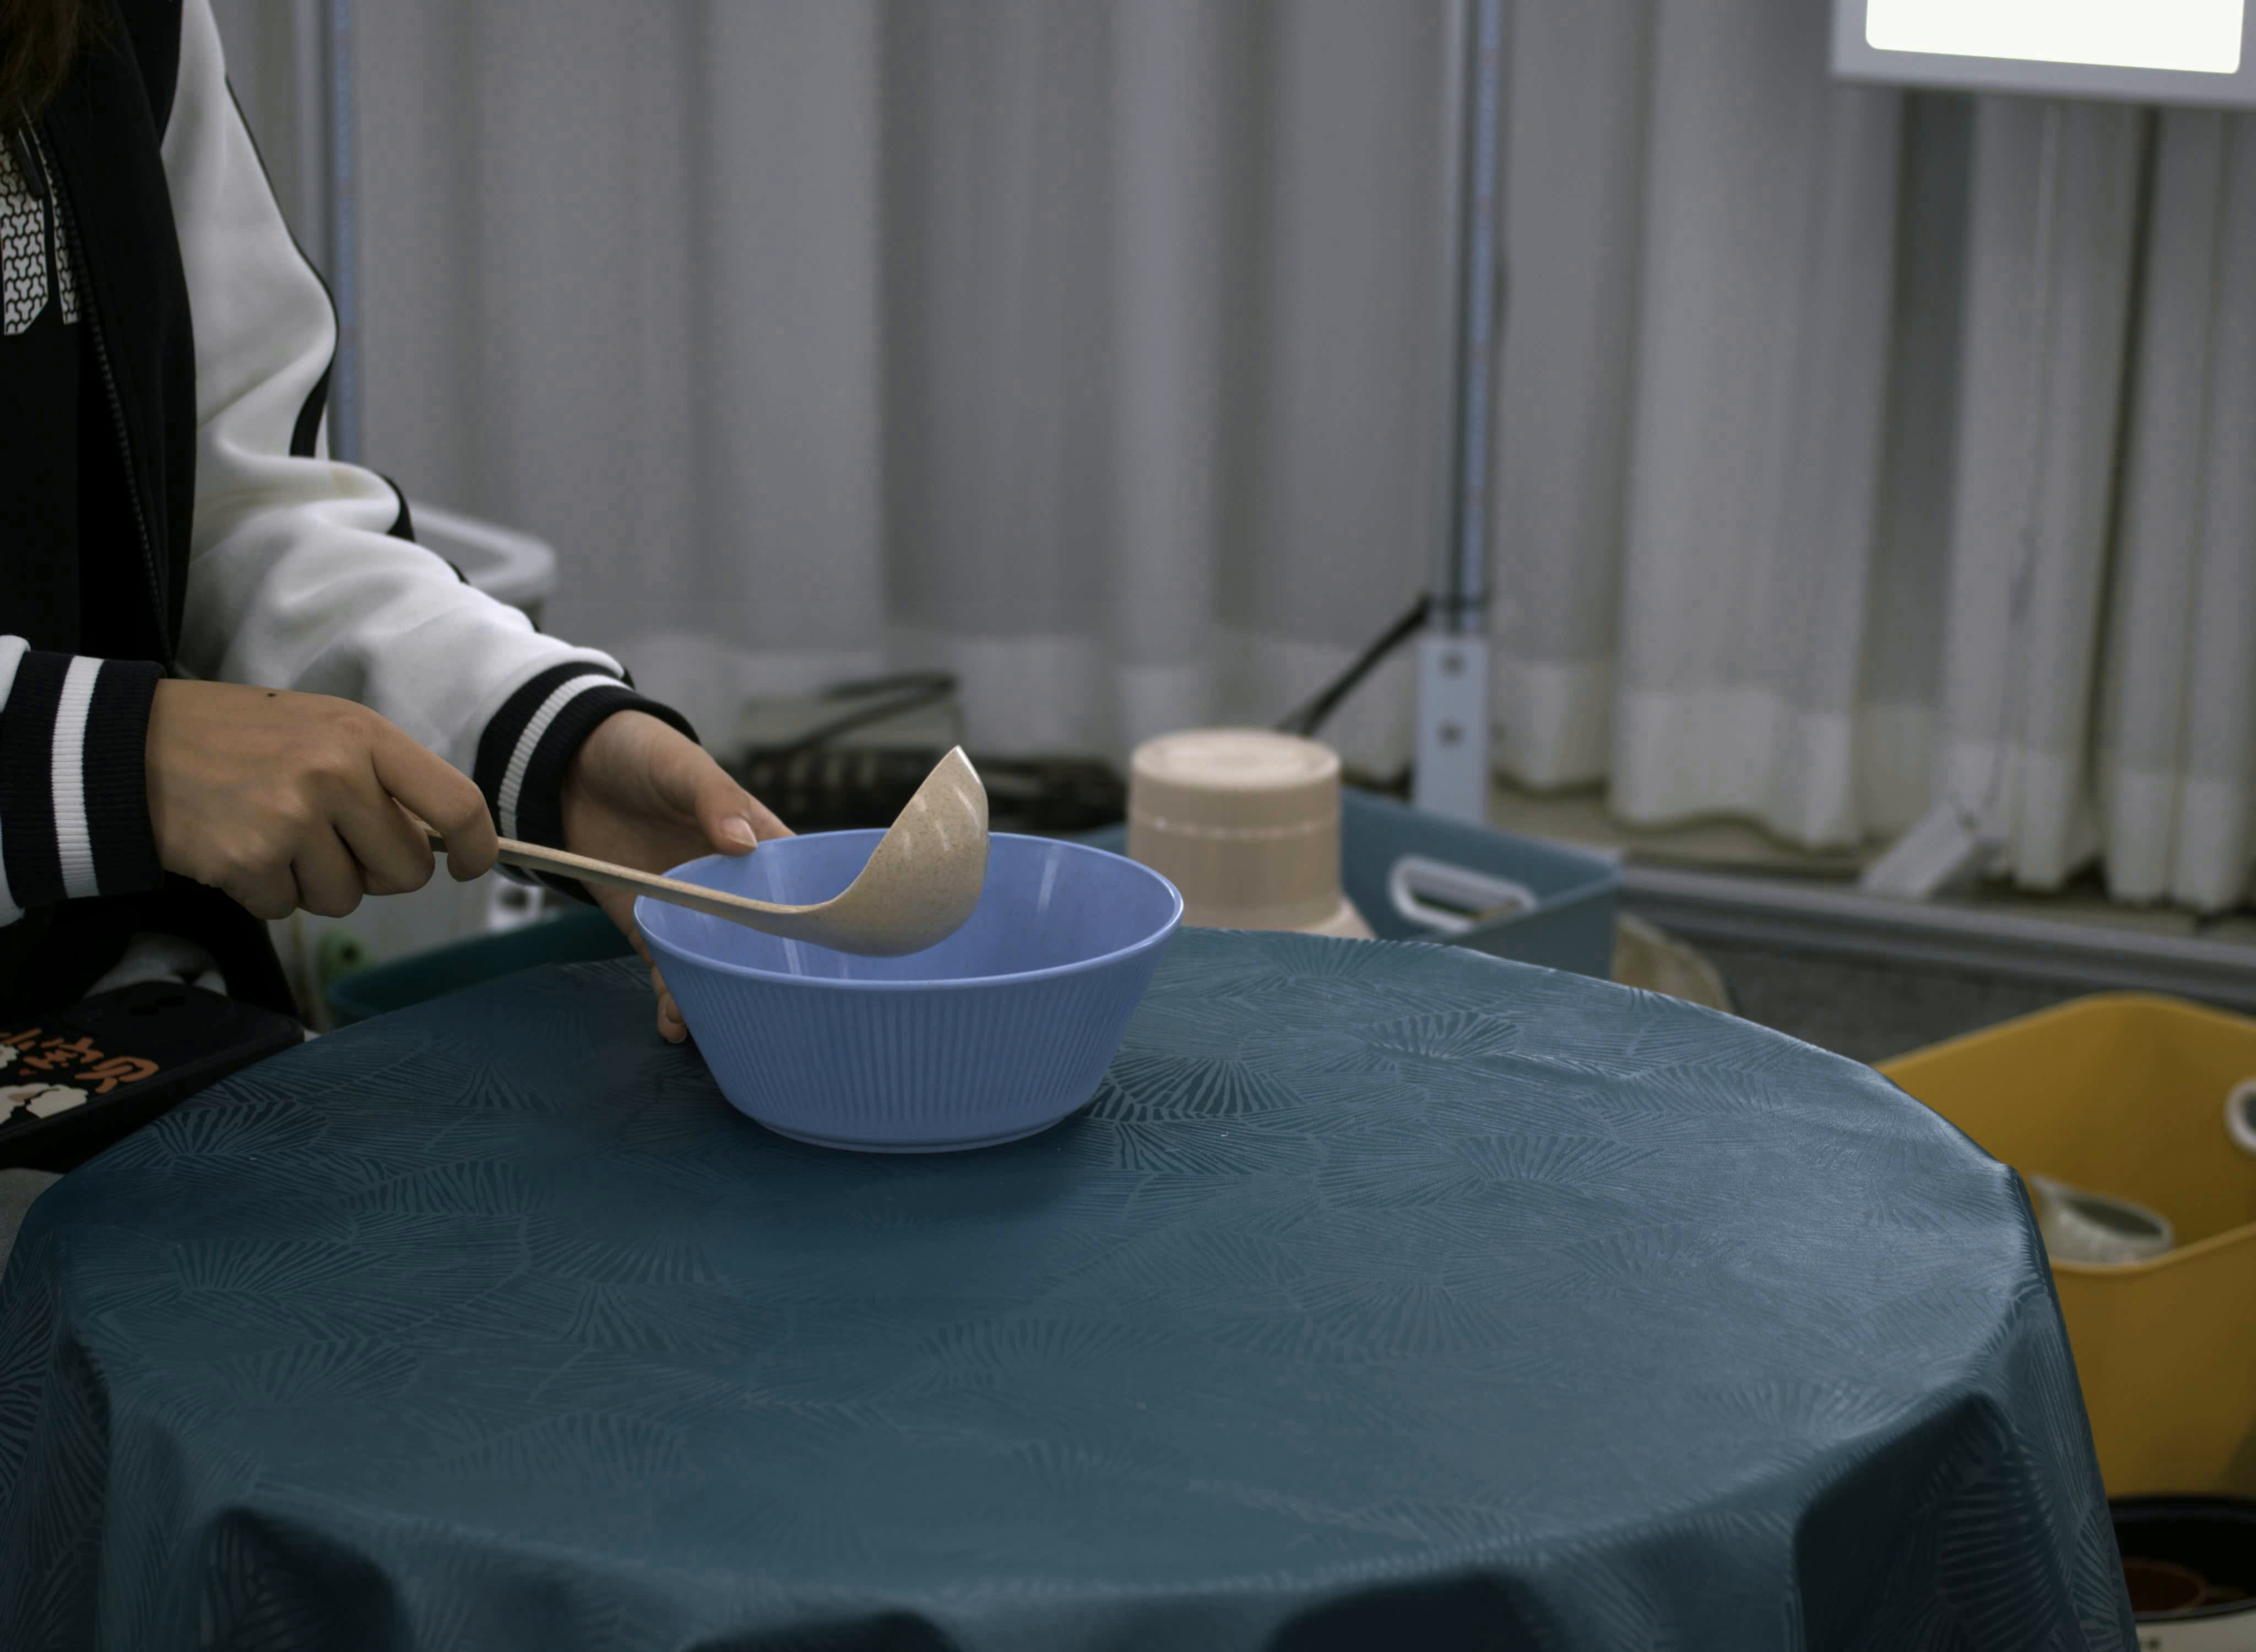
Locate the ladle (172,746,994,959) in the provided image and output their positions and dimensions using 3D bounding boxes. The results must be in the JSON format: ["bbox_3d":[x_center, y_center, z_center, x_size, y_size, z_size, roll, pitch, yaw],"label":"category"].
[{"bbox_3d":[-0.168,-0.012,1.657,0.255,0.072,0.072,12,-23,-11],"label":"ladle"}]

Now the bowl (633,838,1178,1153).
[{"bbox_3d":[-0.071,0.056,1.691,0.175,0.071,0.175,1,15,0],"label":"bowl"}]
